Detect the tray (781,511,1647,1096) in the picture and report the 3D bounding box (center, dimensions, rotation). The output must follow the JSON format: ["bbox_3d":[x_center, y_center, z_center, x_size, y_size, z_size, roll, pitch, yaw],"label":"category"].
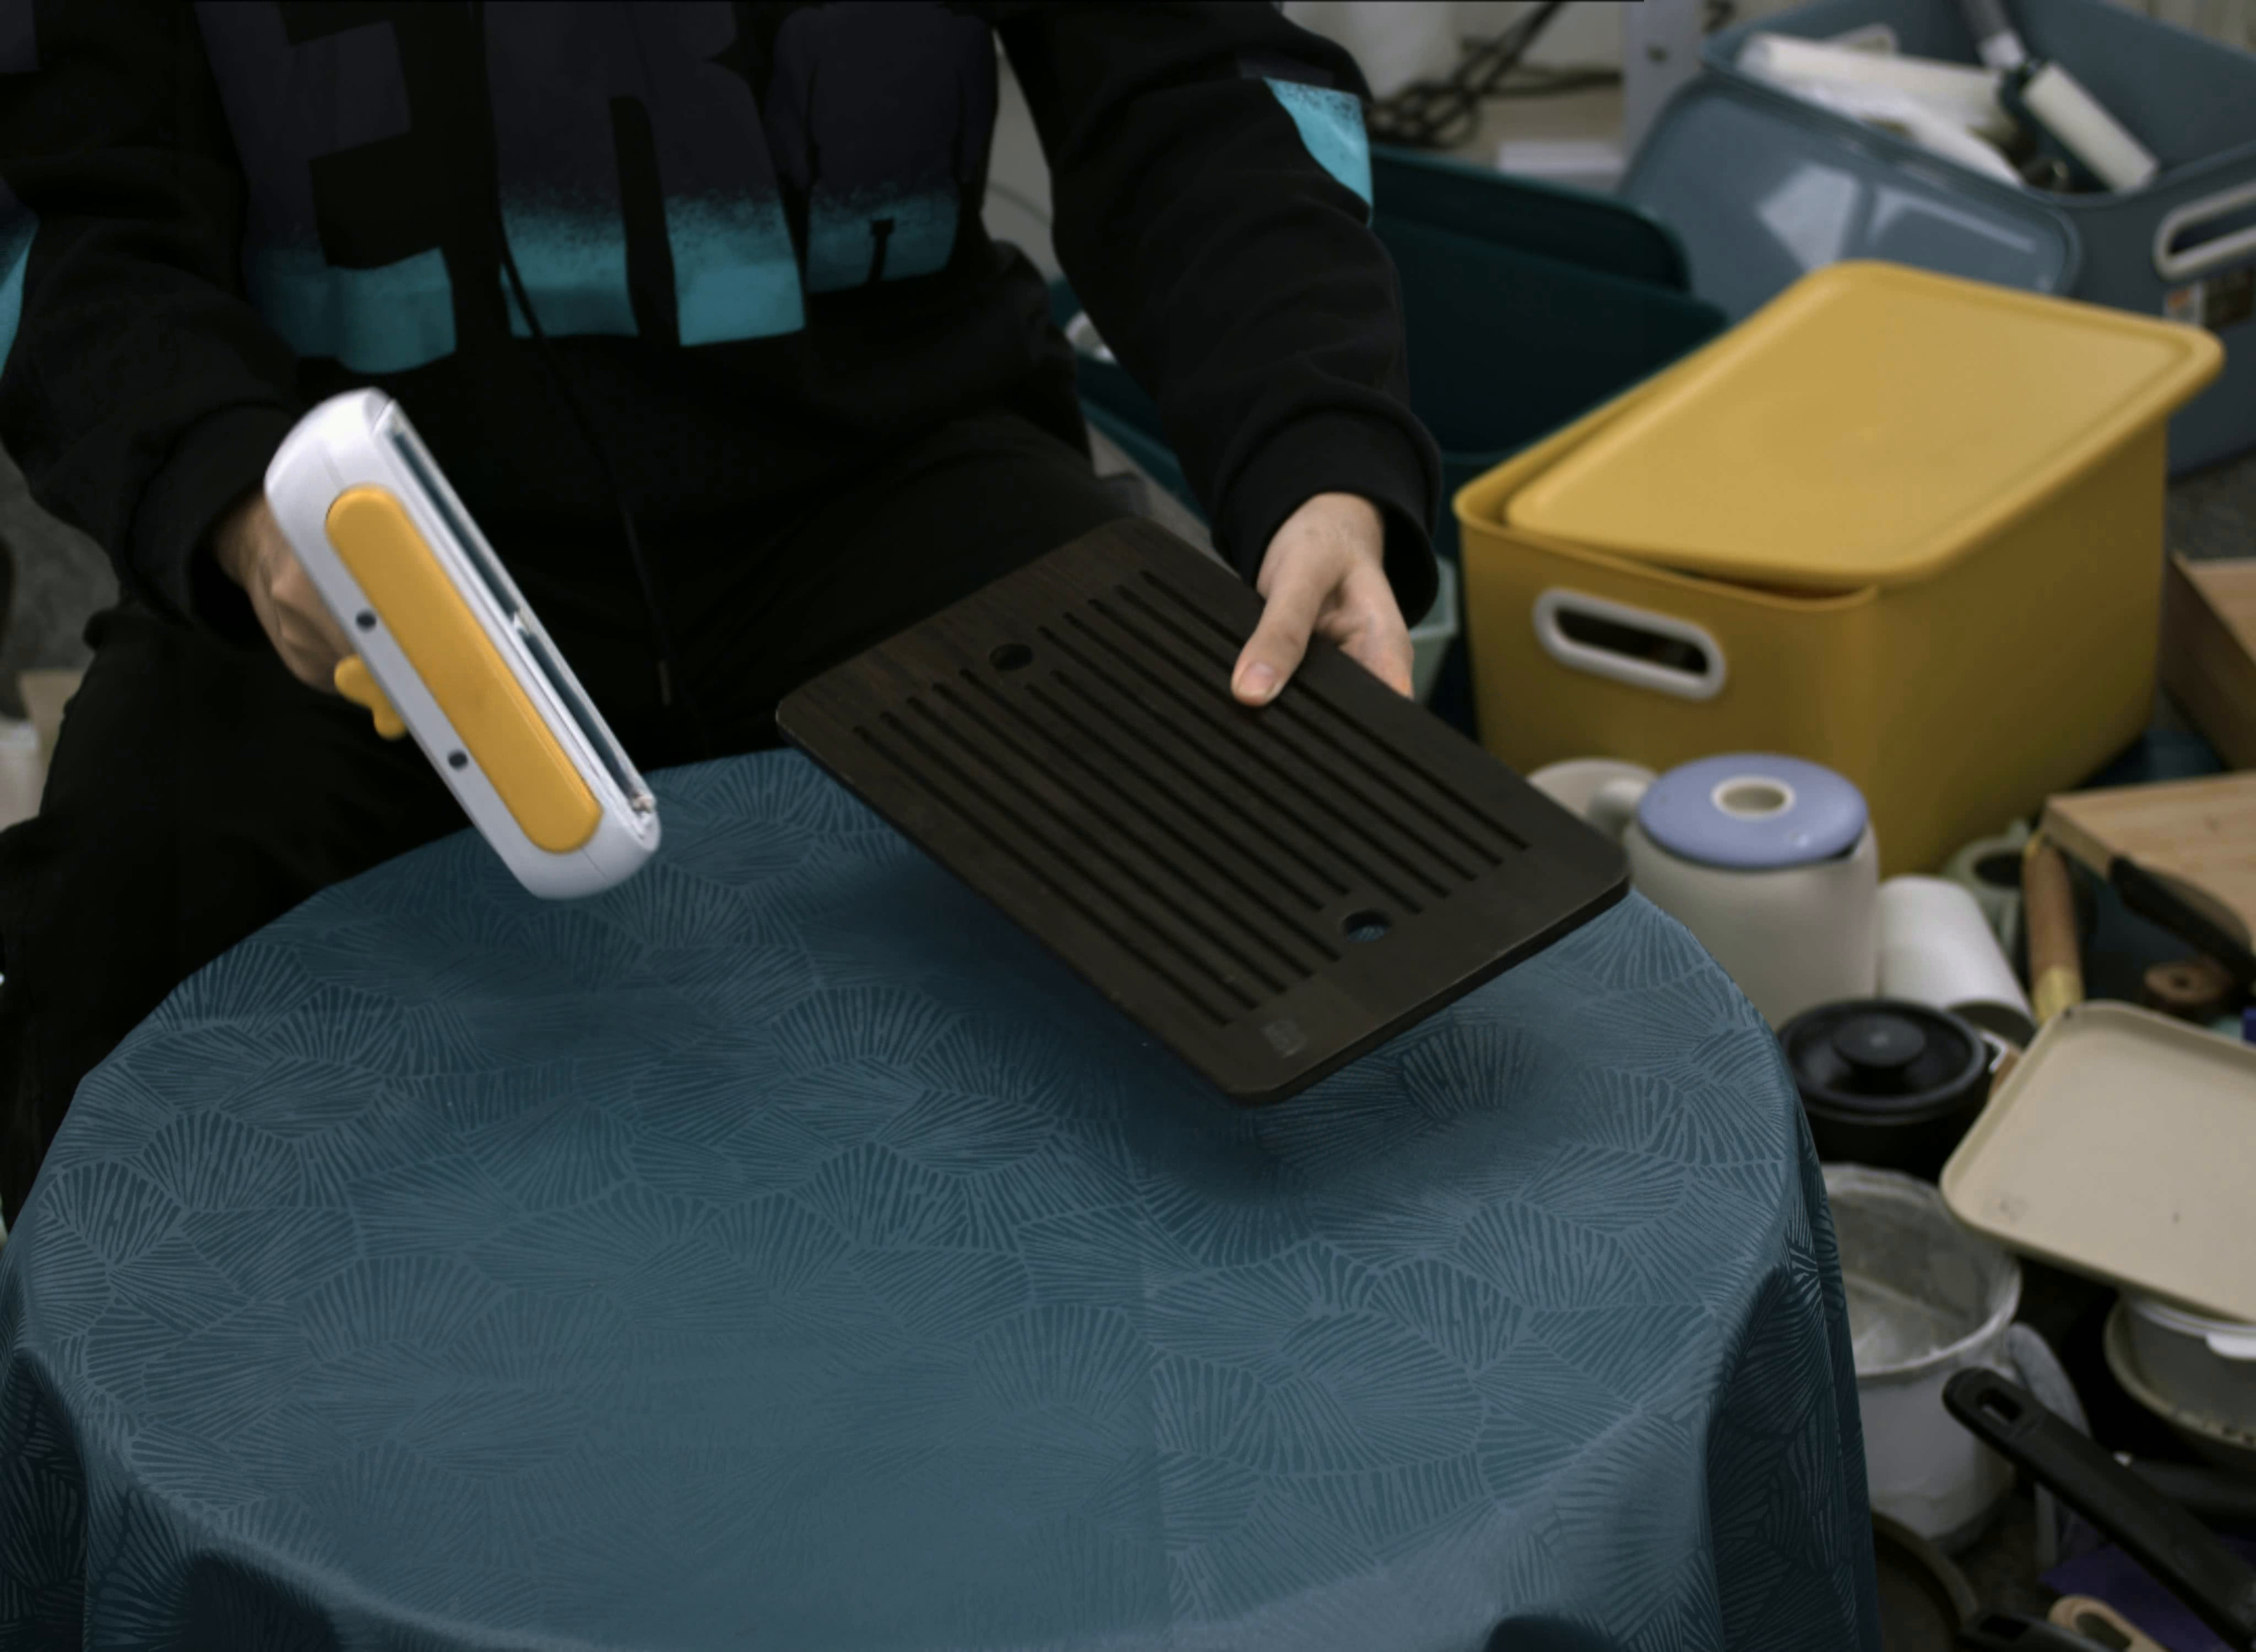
[{"bbox_3d":[0.025,-0.011,1.965,0.171,0.018,0.307,-29,41,-23],"label":"tray"}]

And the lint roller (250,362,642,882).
[{"bbox_3d":[-0.243,-0.073,1.981,0.074,0.192,0.193,-35,10,0],"label":"lint roller"}]
